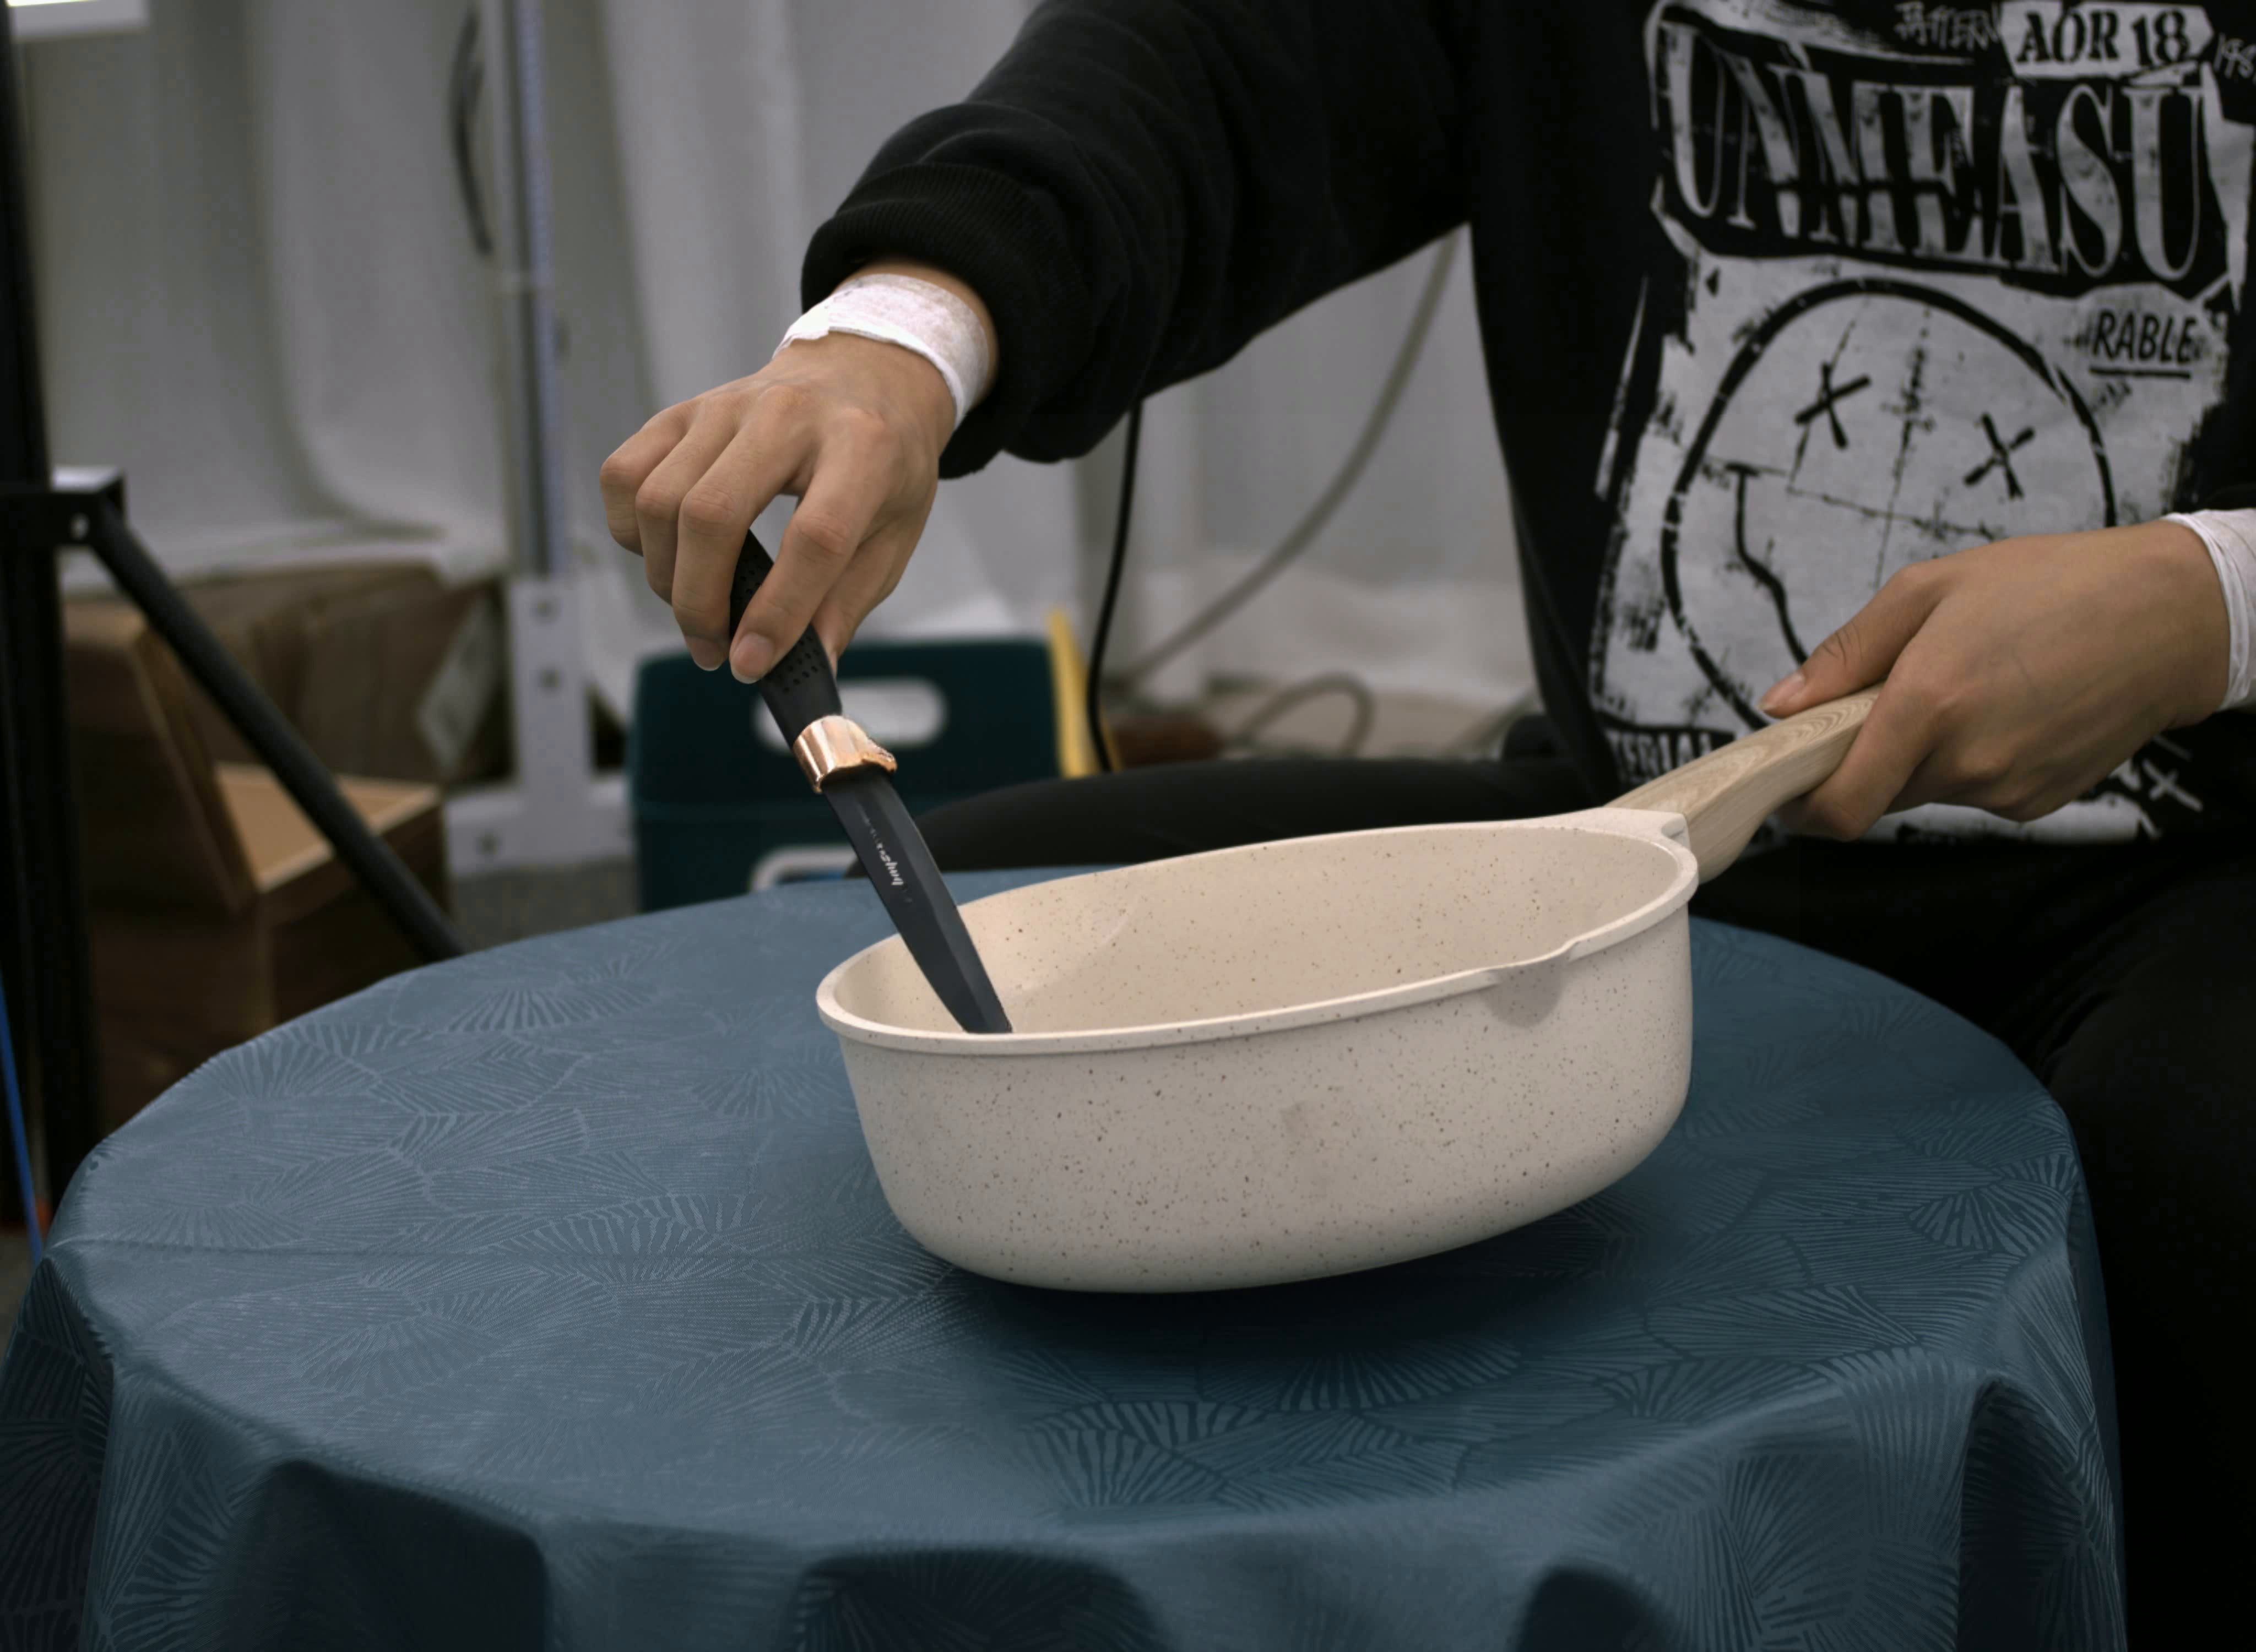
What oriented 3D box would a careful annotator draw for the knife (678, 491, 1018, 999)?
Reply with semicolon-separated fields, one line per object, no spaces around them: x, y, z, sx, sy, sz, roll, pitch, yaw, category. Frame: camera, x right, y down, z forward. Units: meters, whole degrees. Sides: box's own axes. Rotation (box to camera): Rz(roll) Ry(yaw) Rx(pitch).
-0.076;-0.012;1.515;0.025;0.017;0.230;-4;50;-37;knife

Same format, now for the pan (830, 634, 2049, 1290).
0.118;0.039;1.539;0.425;0.102;0.269;-15;10;-33;pan
